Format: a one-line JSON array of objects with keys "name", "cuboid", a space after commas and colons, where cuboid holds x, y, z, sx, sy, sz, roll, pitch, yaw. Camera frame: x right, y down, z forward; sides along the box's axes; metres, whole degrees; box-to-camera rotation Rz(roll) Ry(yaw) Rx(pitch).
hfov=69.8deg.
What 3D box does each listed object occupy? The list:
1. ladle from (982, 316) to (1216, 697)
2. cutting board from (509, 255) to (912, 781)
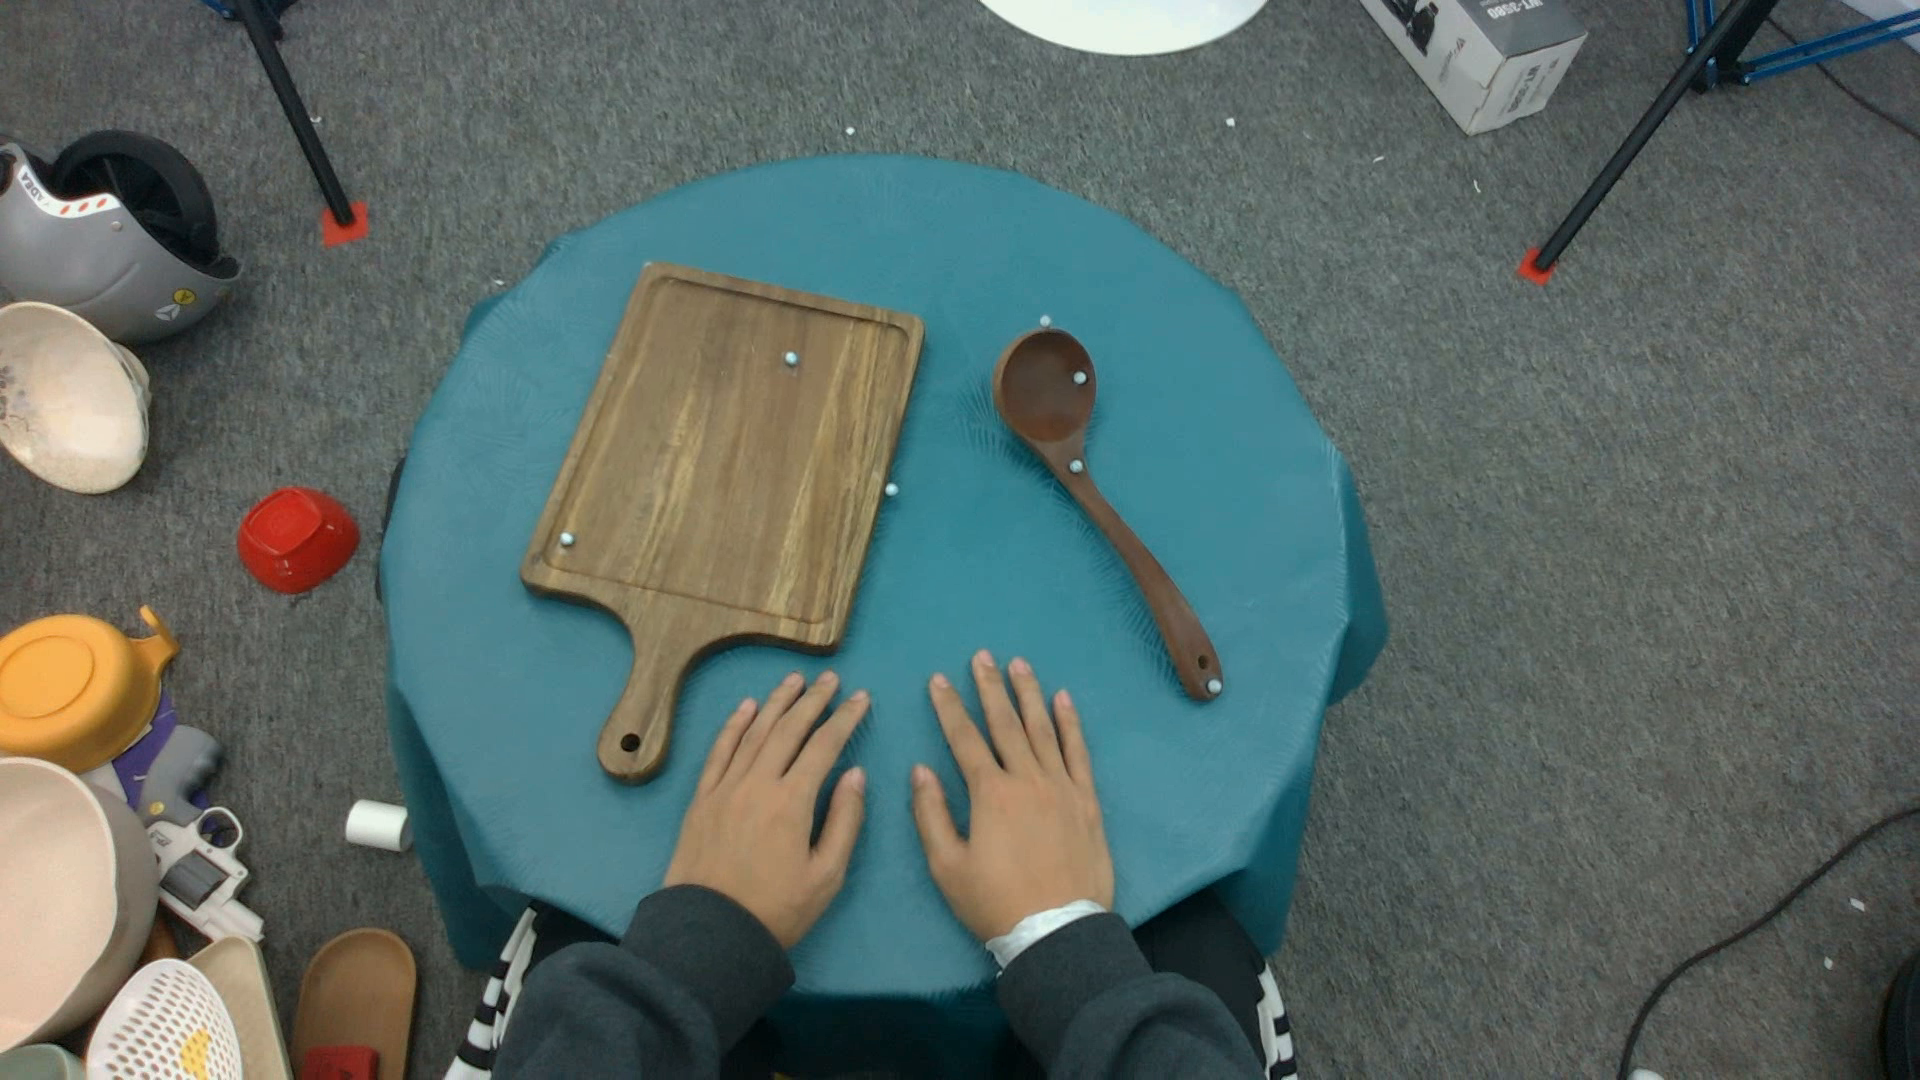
[{"name": "ladle", "cuboid": [0.092, -0.025, 0.846, 0.077, 0.065, 0.260, -19, 65, -23]}, {"name": "cutting board", "cuboid": [-0.158, -0.022, 0.846, 0.201, 0.023, 0.353, 11, 62, 2]}]
